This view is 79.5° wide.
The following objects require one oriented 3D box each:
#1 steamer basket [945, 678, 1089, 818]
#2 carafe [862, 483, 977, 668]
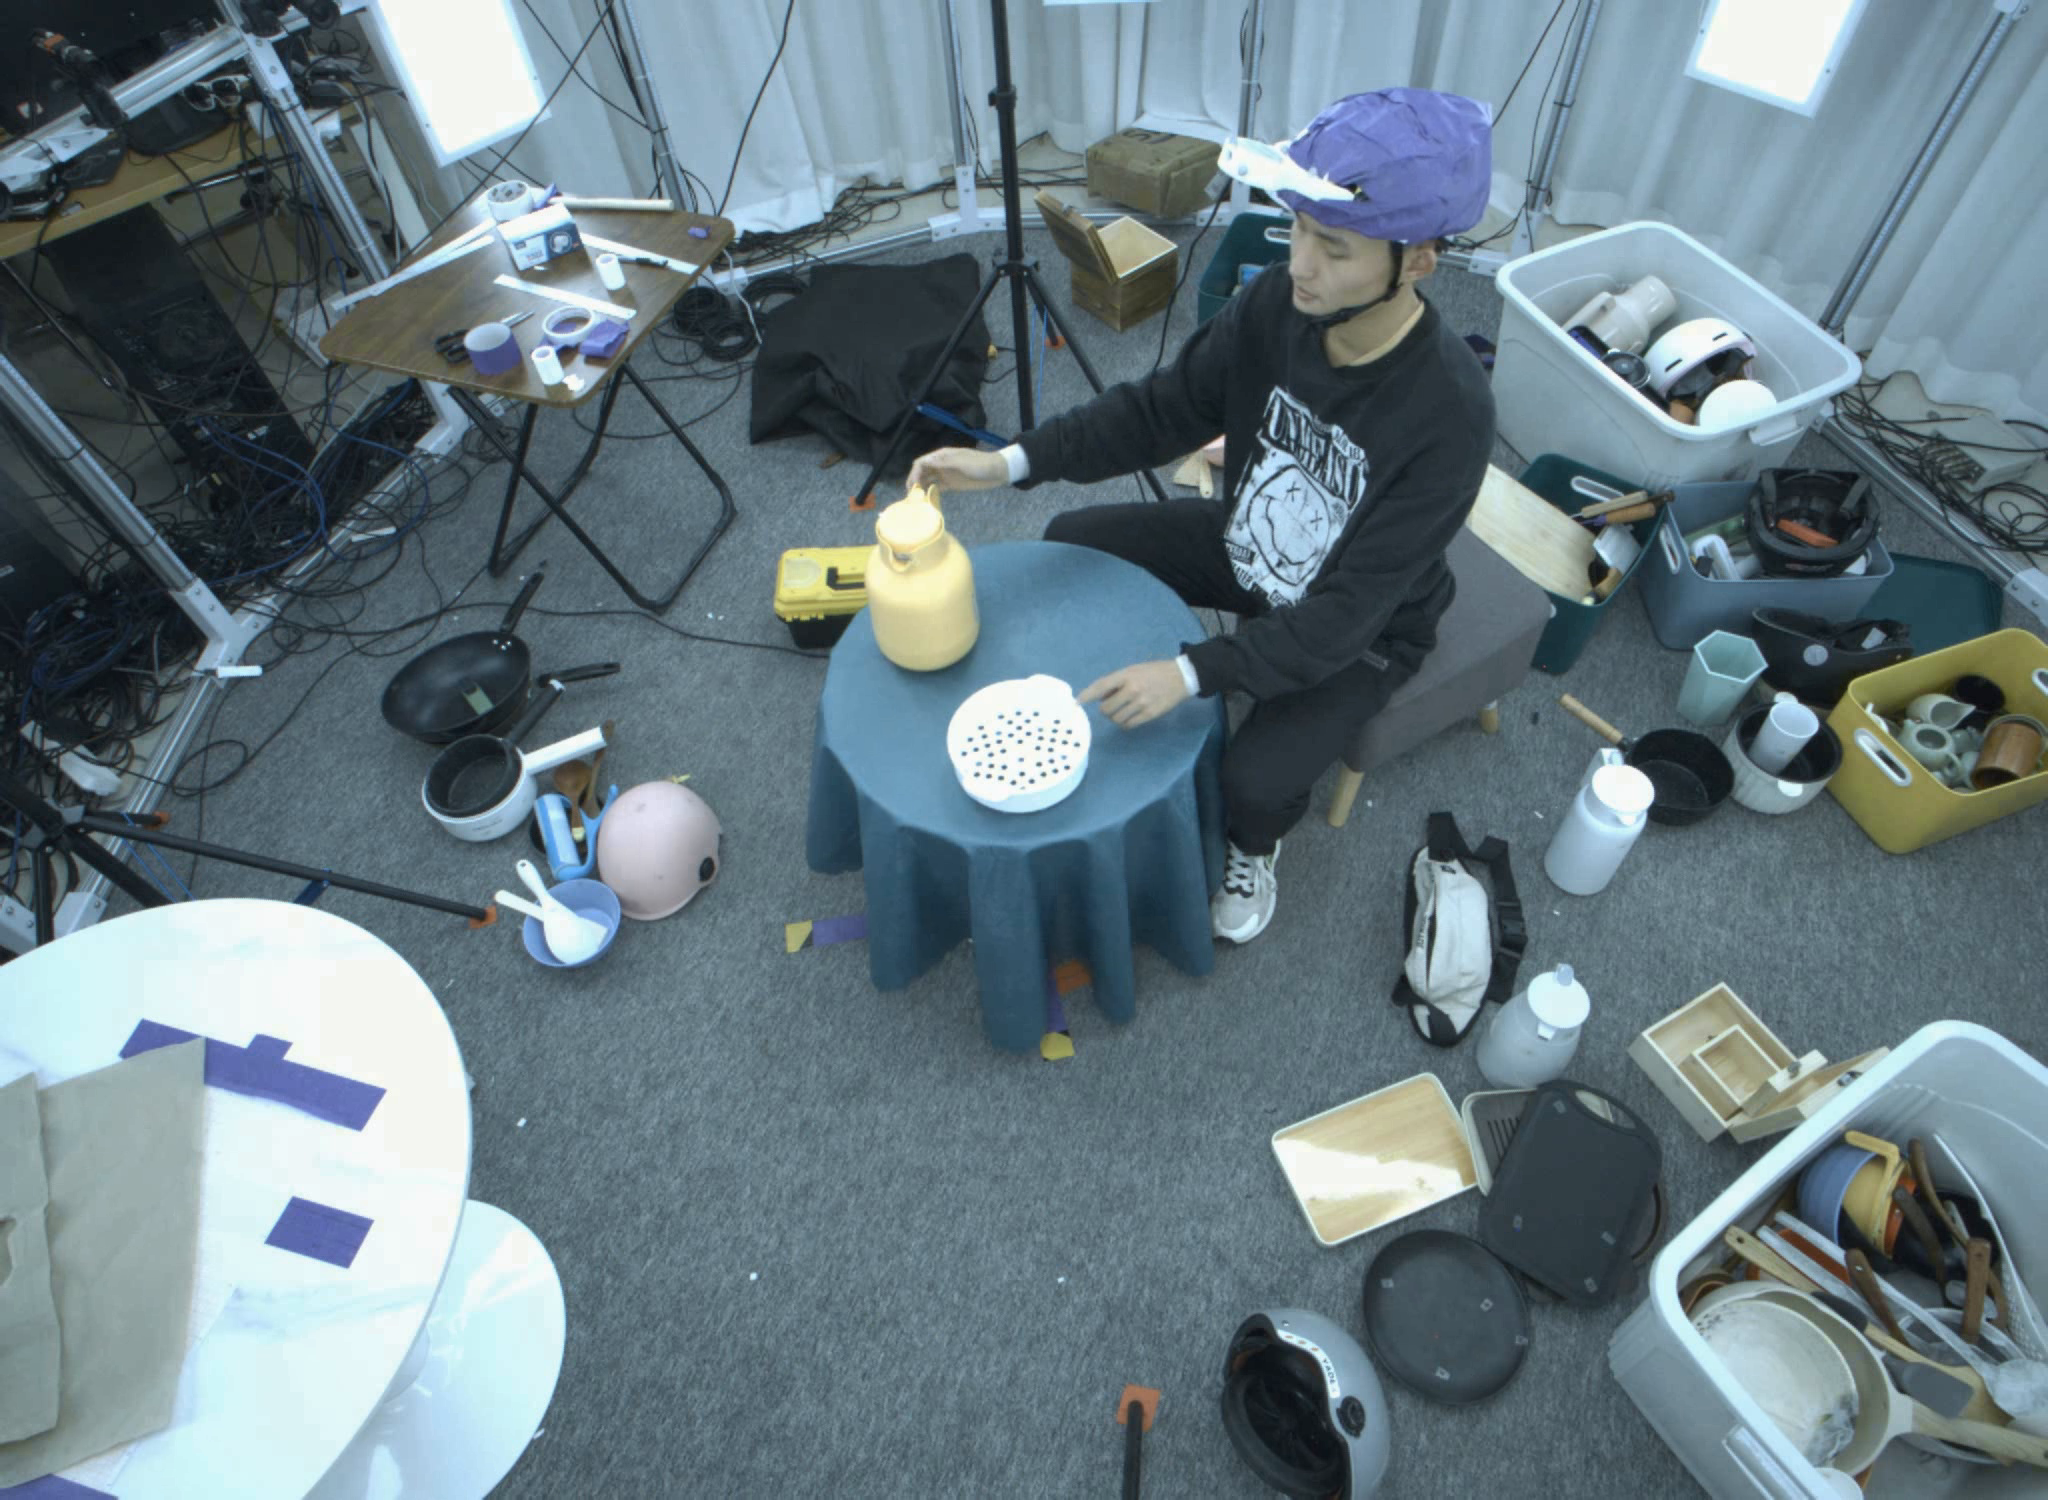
[{"bbox_3d":[-0.008,0.002,1.744,0.199,0.070,0.231,20,58,17],"label":"steamer basket"},{"bbox_3d":[-0.153,-0.266,1.815,0.163,0.263,0.201,9,57,6],"label":"carafe"}]
